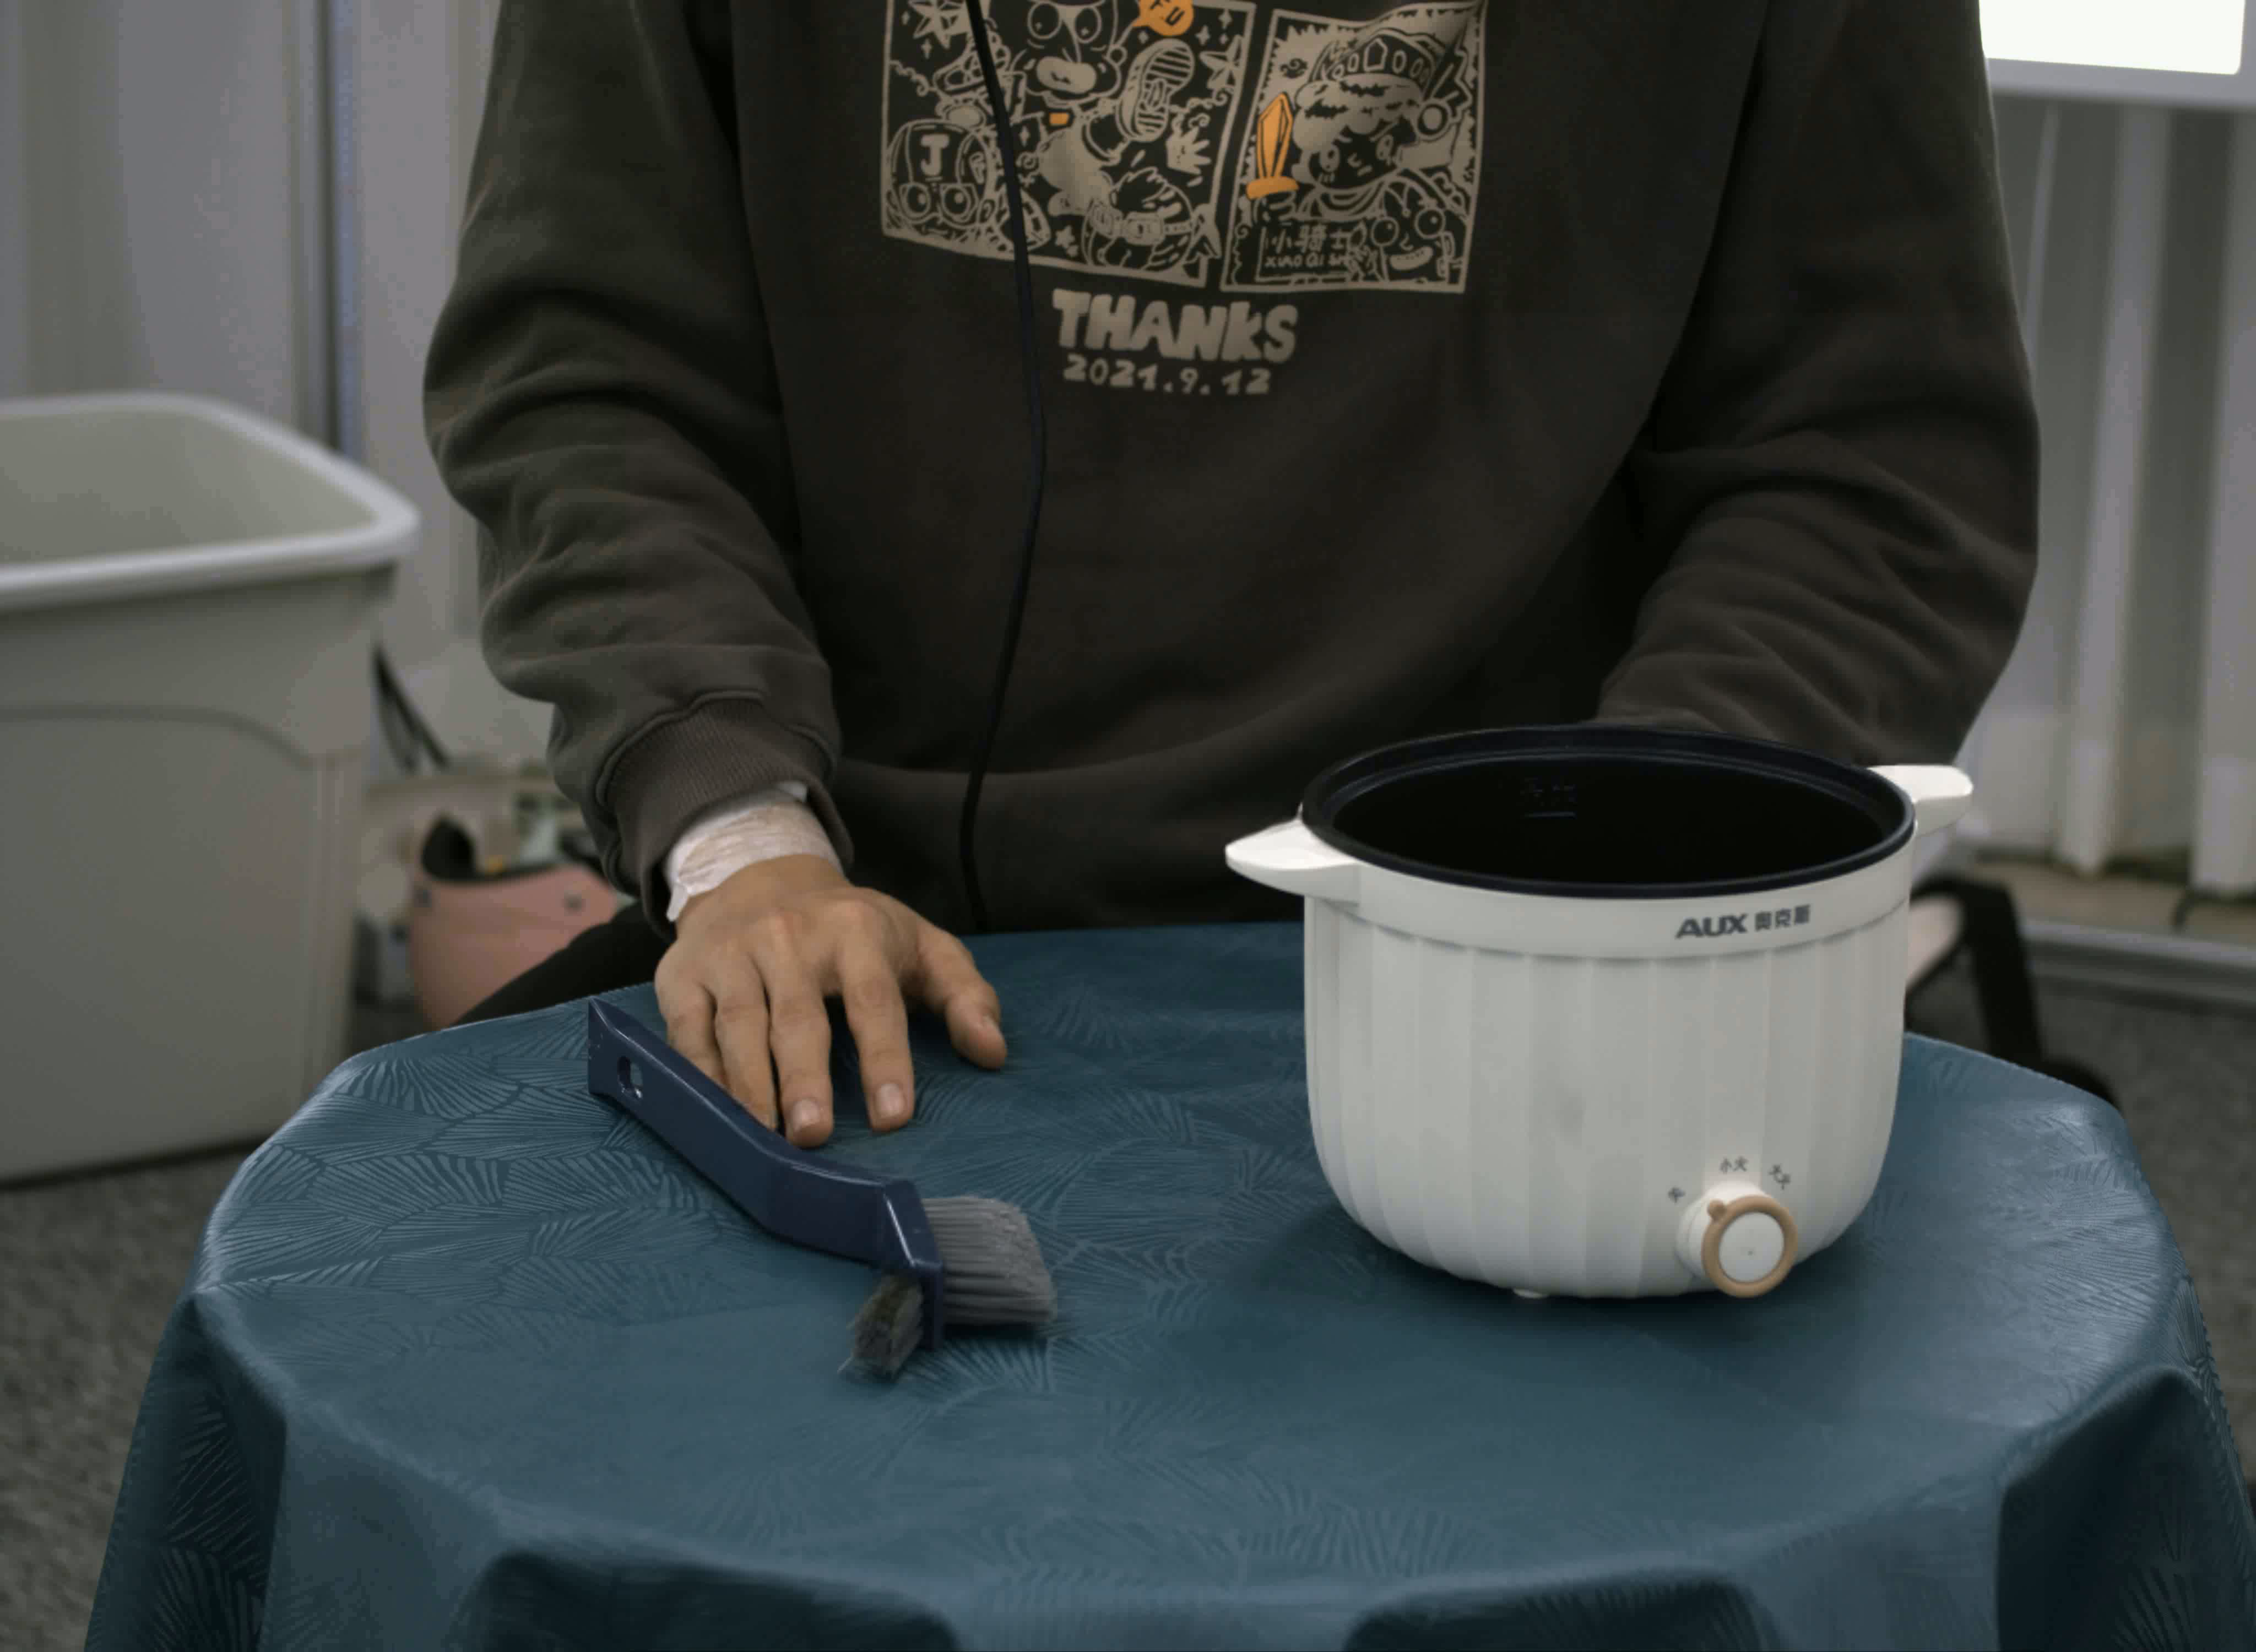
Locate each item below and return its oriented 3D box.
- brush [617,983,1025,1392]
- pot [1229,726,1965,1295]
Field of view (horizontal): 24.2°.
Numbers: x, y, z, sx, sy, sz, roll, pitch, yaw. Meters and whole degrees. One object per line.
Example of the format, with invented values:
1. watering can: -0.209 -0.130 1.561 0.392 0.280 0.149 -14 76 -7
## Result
1. brush: -0.115 0.105 1.595 0.096 0.034 0.269 -11 21 -32
2. pot: 0.145 0.058 1.572 0.241 0.144 0.188 -7 14 -21
